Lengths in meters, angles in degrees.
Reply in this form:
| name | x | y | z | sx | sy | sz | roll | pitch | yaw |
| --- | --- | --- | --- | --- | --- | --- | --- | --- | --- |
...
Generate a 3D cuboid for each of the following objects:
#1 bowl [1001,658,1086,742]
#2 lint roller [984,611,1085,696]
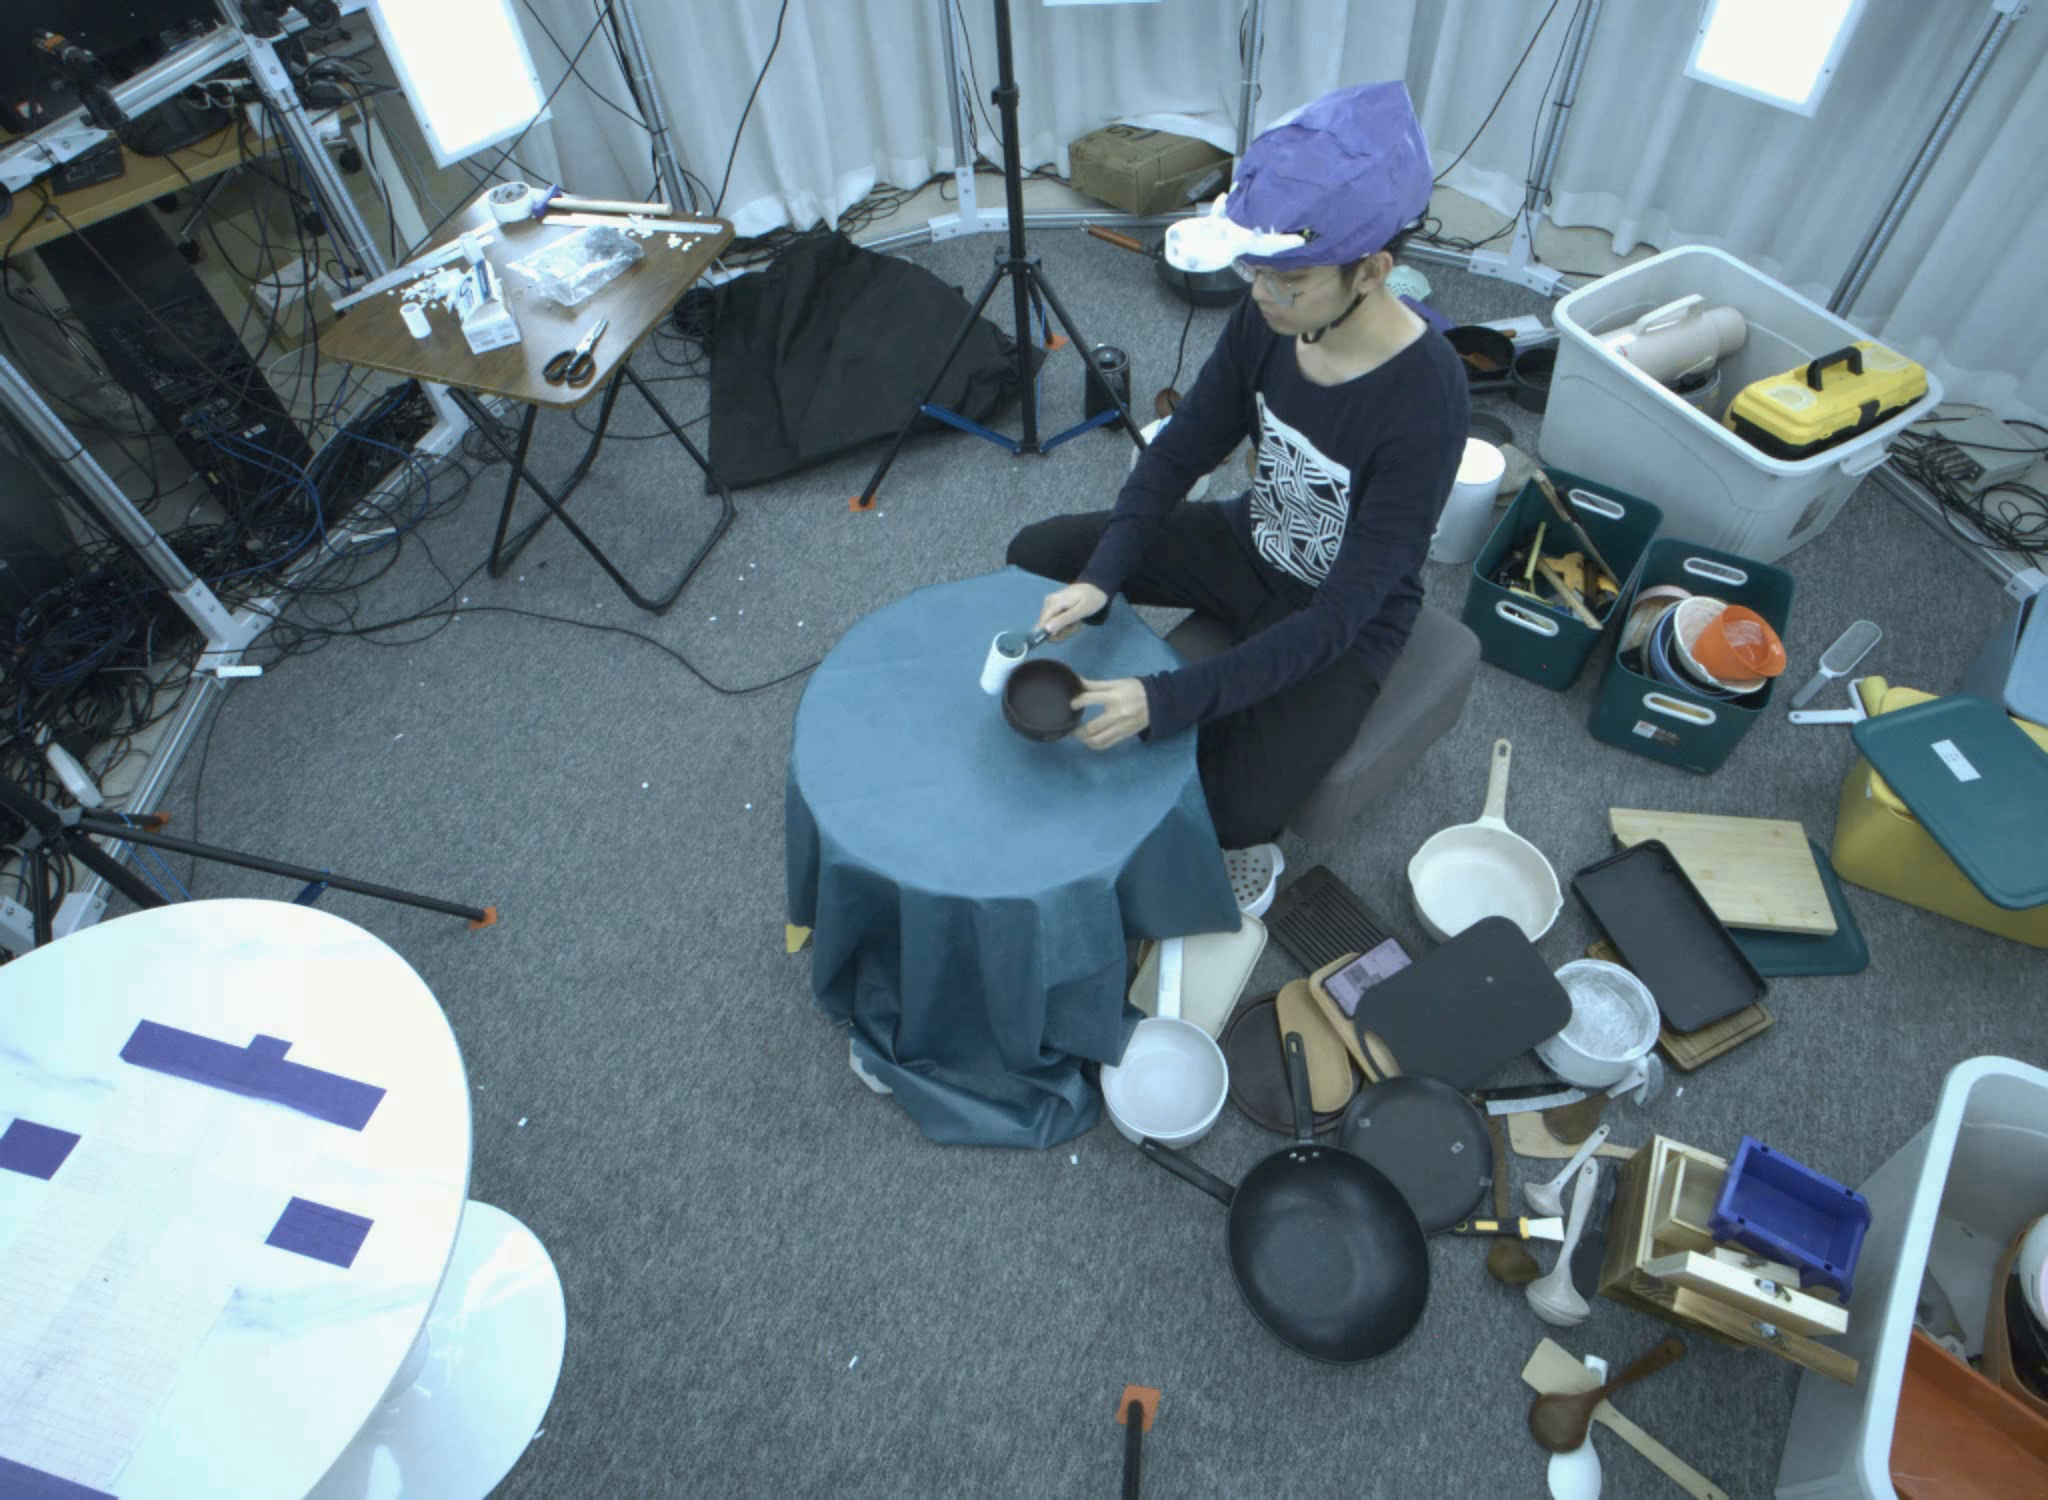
| name | x | y | z | sx | sy | sz | roll | pitch | yaw |
| --- | --- | --- | --- | --- | --- | --- | --- | --- | --- |
| bowl | 0.025 | -0.063 | 1.737 | 0.119 | 0.070 | 0.117 | 5 | 63 | -9 |
| lint roller | 0.017 | -0.163 | 1.792 | 0.048 | 0.134 | 0.181 | 40 | 60 | 10 |
